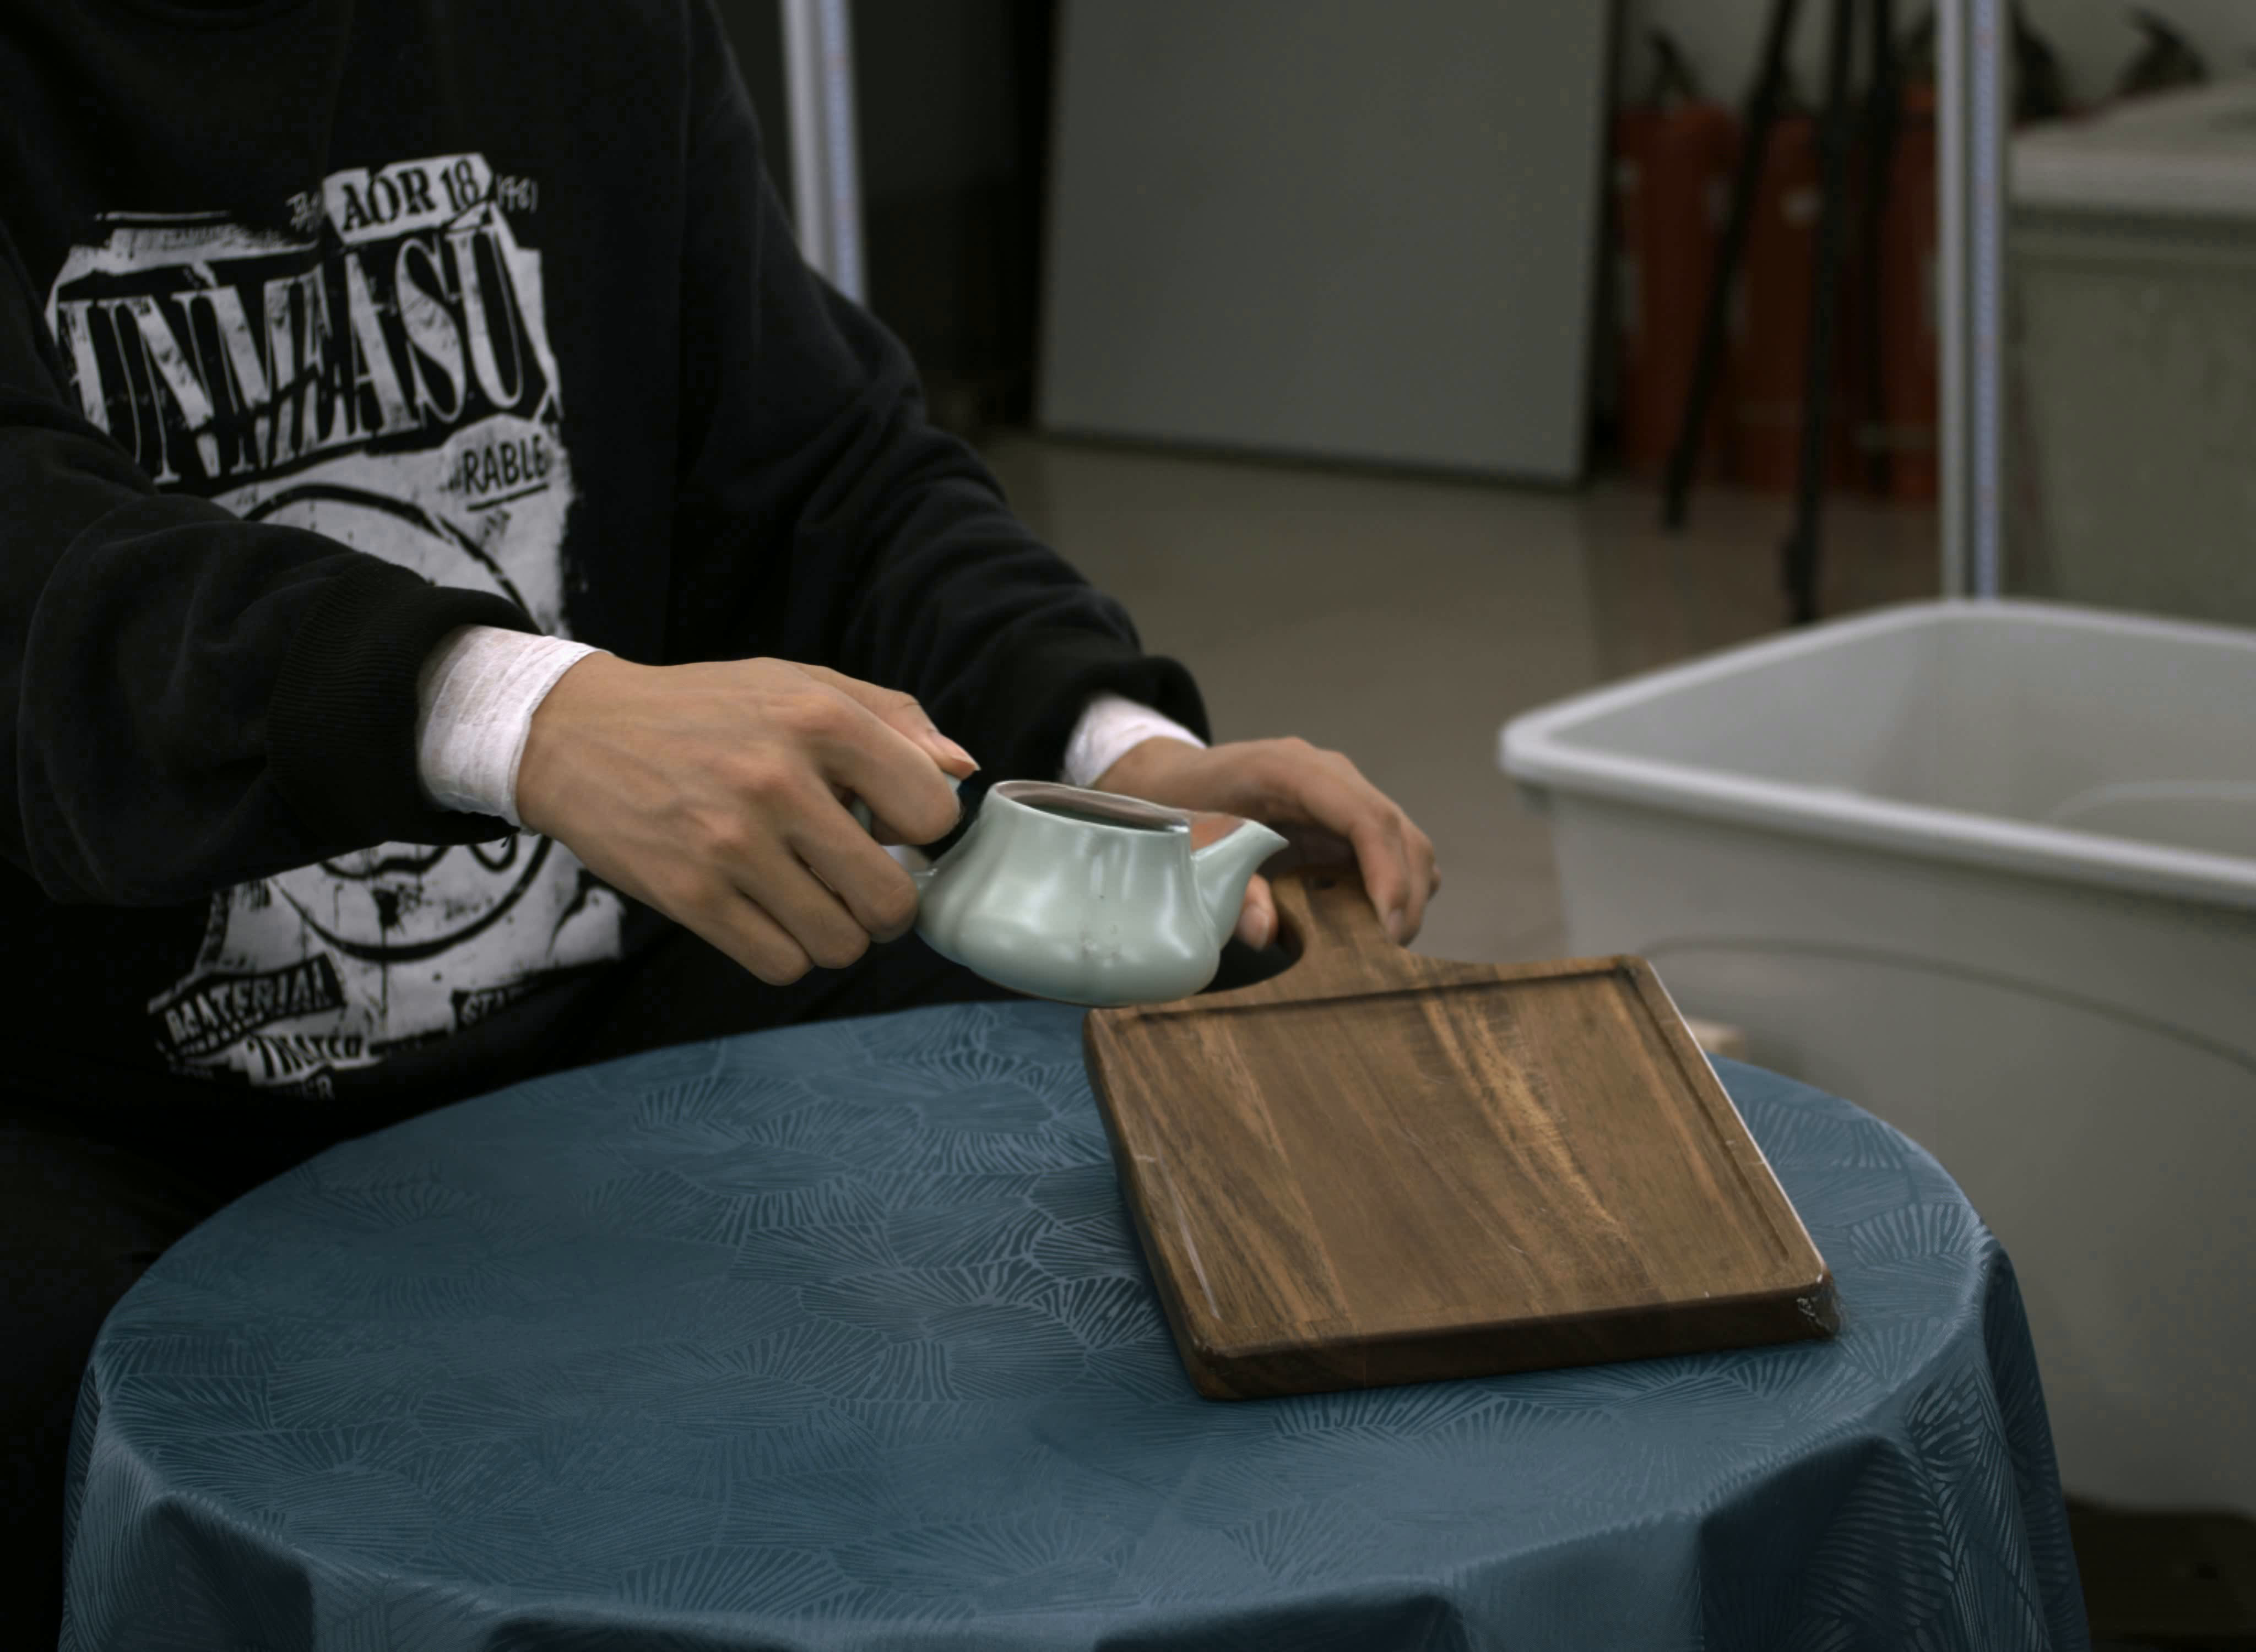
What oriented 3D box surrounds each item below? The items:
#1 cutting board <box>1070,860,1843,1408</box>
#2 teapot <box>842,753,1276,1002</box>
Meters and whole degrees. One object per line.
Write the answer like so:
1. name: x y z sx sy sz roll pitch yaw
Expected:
1. cutting board: 0.089 0.087 1.736 0.198 0.023 0.354 -6 23 -7
2. teapot: -0.023 0.016 1.624 0.134 0.062 0.097 9 11 -17
